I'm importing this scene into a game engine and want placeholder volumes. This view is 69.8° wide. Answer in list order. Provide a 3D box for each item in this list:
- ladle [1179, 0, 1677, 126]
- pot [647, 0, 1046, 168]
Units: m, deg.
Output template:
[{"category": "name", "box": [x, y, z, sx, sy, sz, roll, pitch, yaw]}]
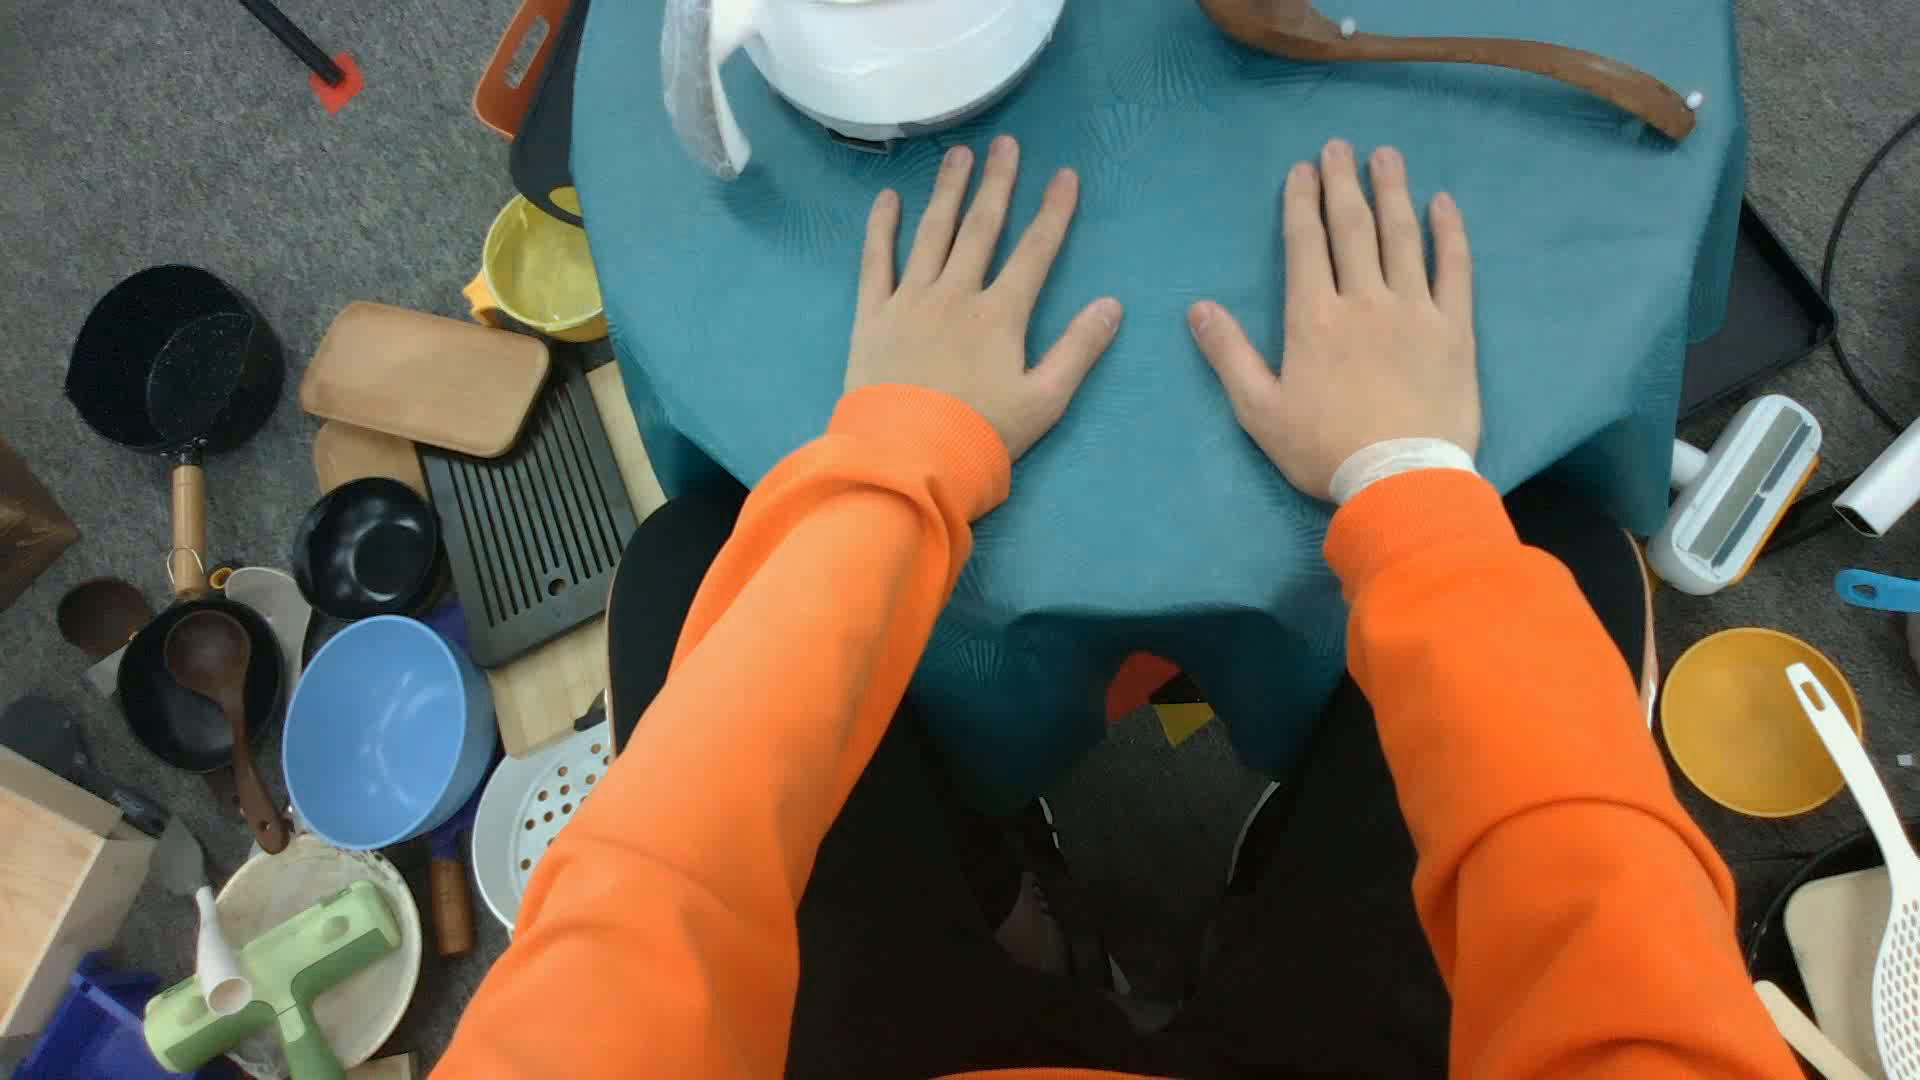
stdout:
[{"category": "ladle", "box": [0.225, -0.259, 0.673, 0.260, 0.065, 0.077, 16, 53, 11]}, {"category": "pot", "box": [-0.063, -0.288, 0.675, 0.179, 0.136, 0.234, 42, 84, 15]}]
